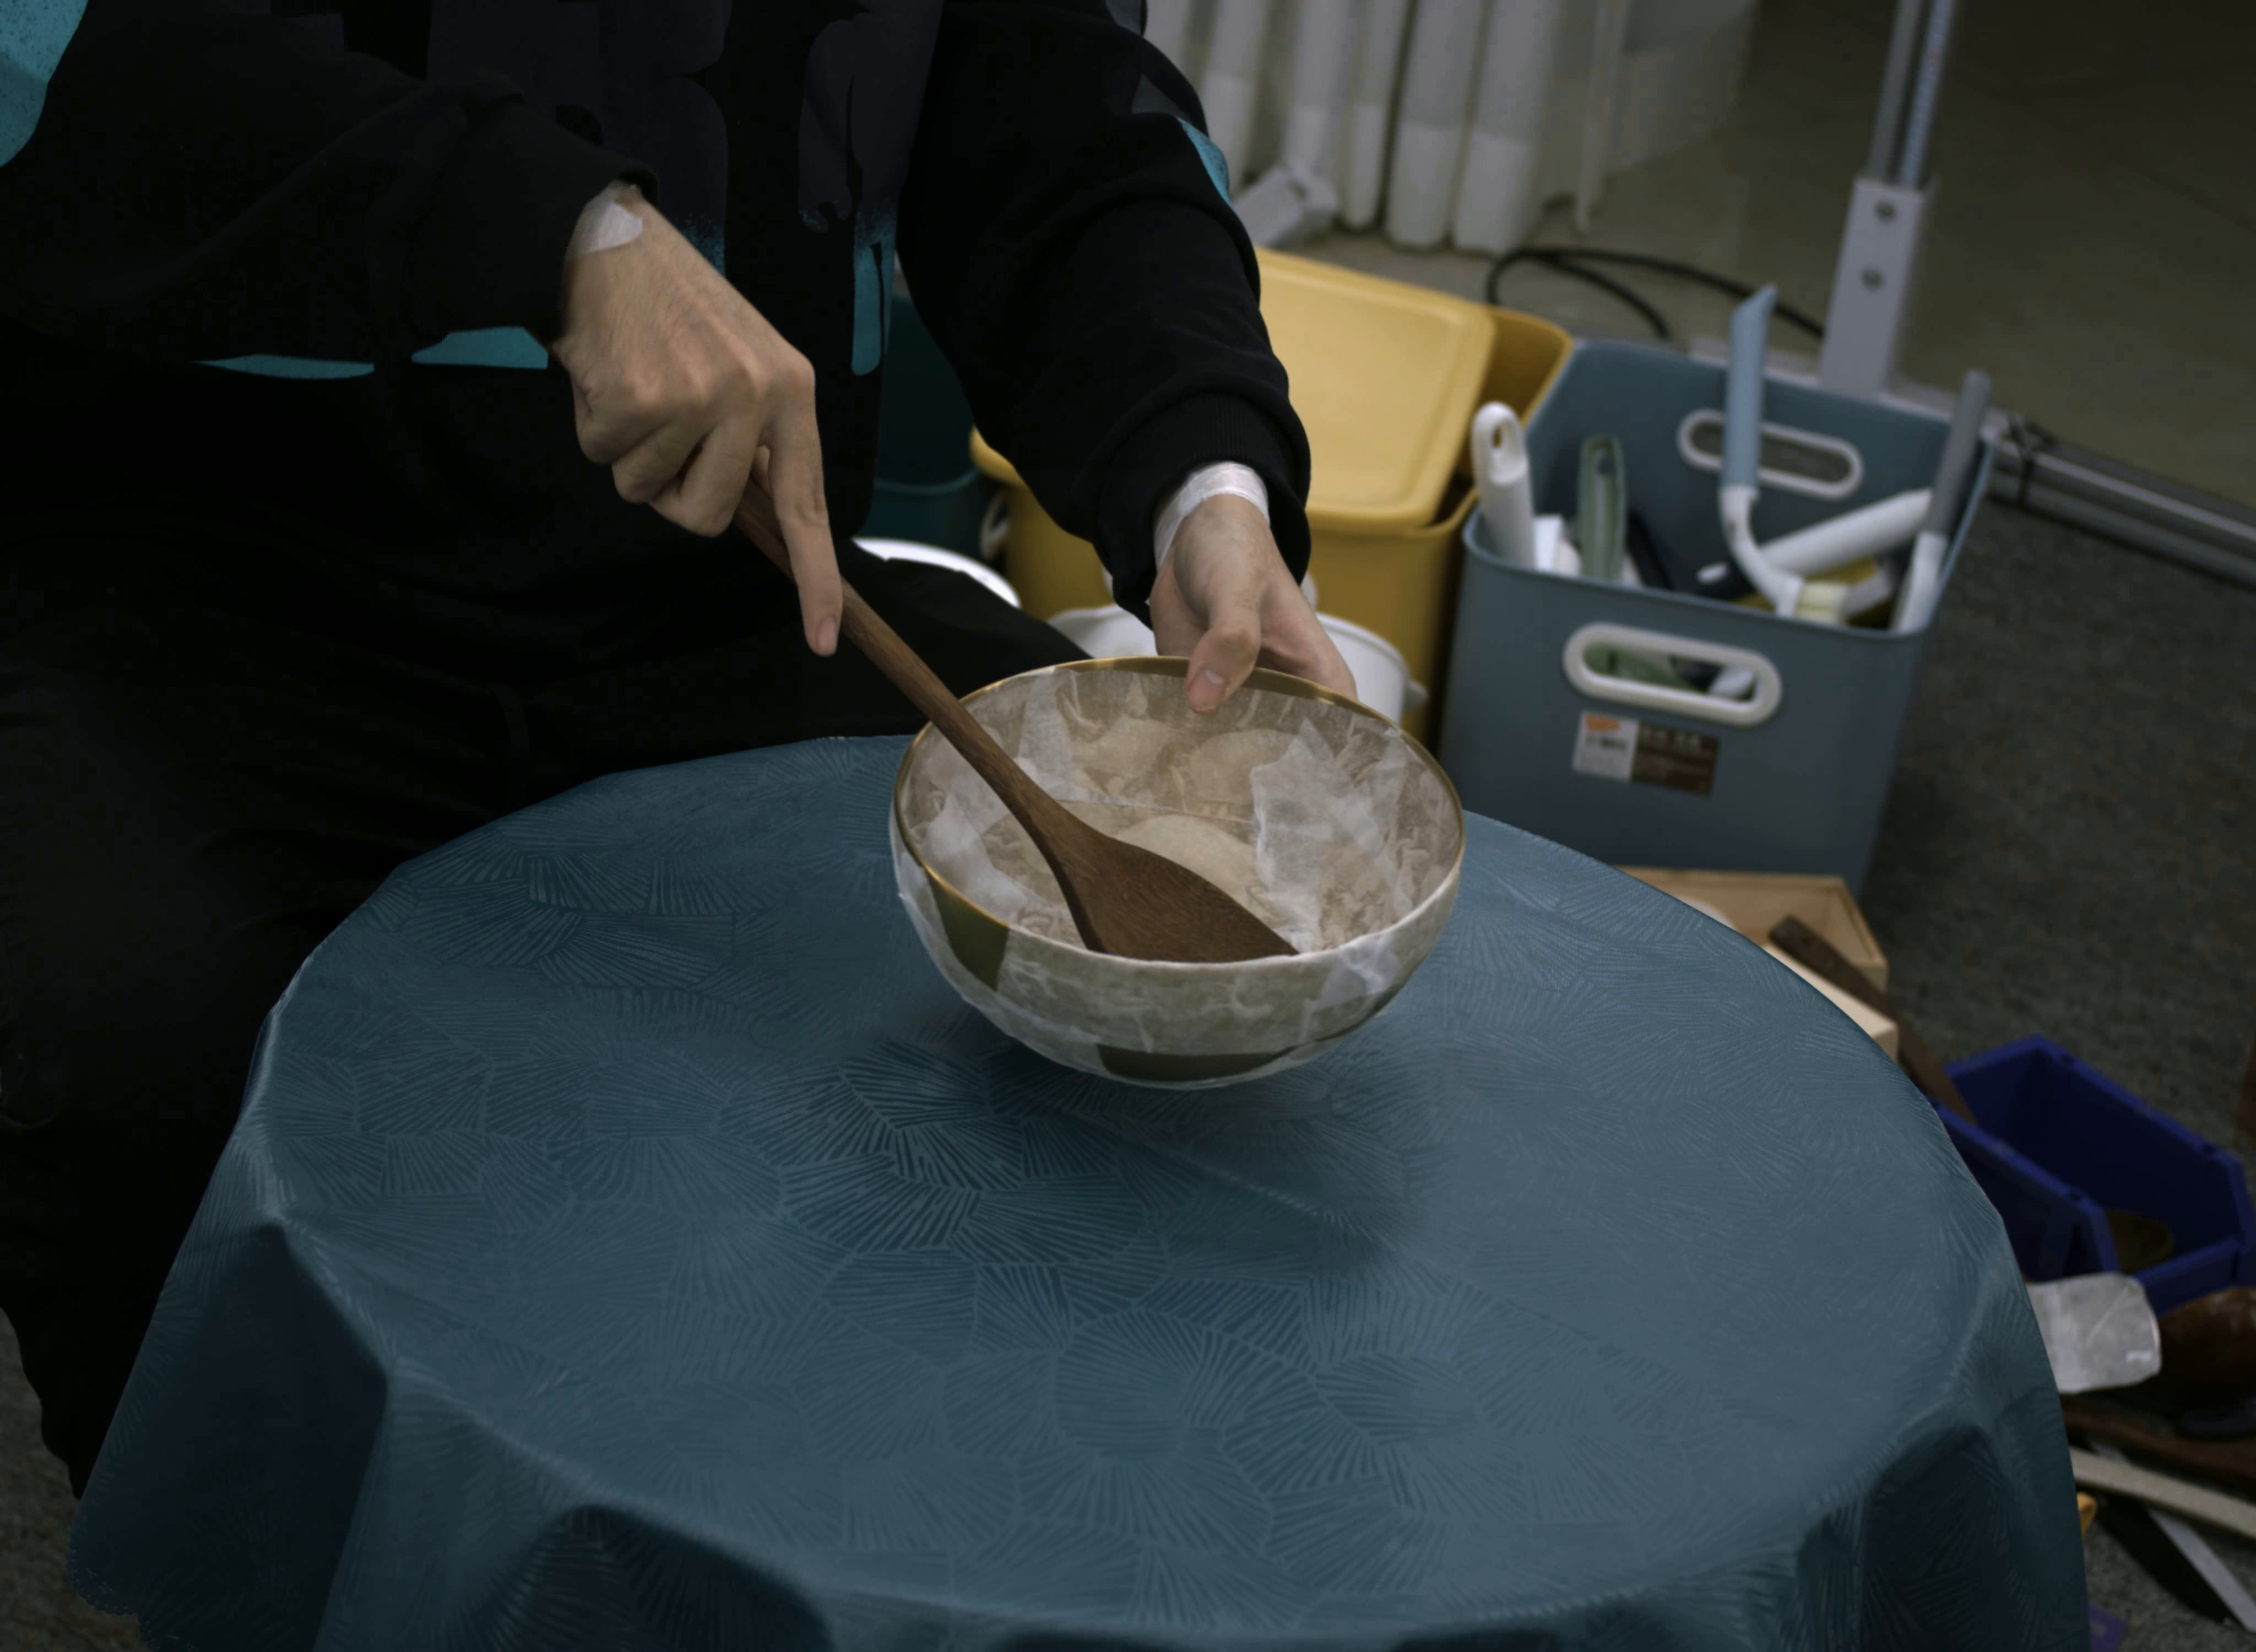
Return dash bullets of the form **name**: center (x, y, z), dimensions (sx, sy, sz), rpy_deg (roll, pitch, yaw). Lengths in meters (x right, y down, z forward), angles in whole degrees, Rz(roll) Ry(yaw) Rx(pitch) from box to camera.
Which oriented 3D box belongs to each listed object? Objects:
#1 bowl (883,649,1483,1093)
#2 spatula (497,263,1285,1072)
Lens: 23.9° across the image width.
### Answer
- **bowl**: center (0.016, 0.029, 1.858), dimensions (0.214, 0.094, 0.216), rpy_deg (2, 31, -1)
- **spatula**: center (-0.081, -0.059, 1.852), dimensions (0.386, 0.016, 0.096), rpy_deg (46, 29, -1)
